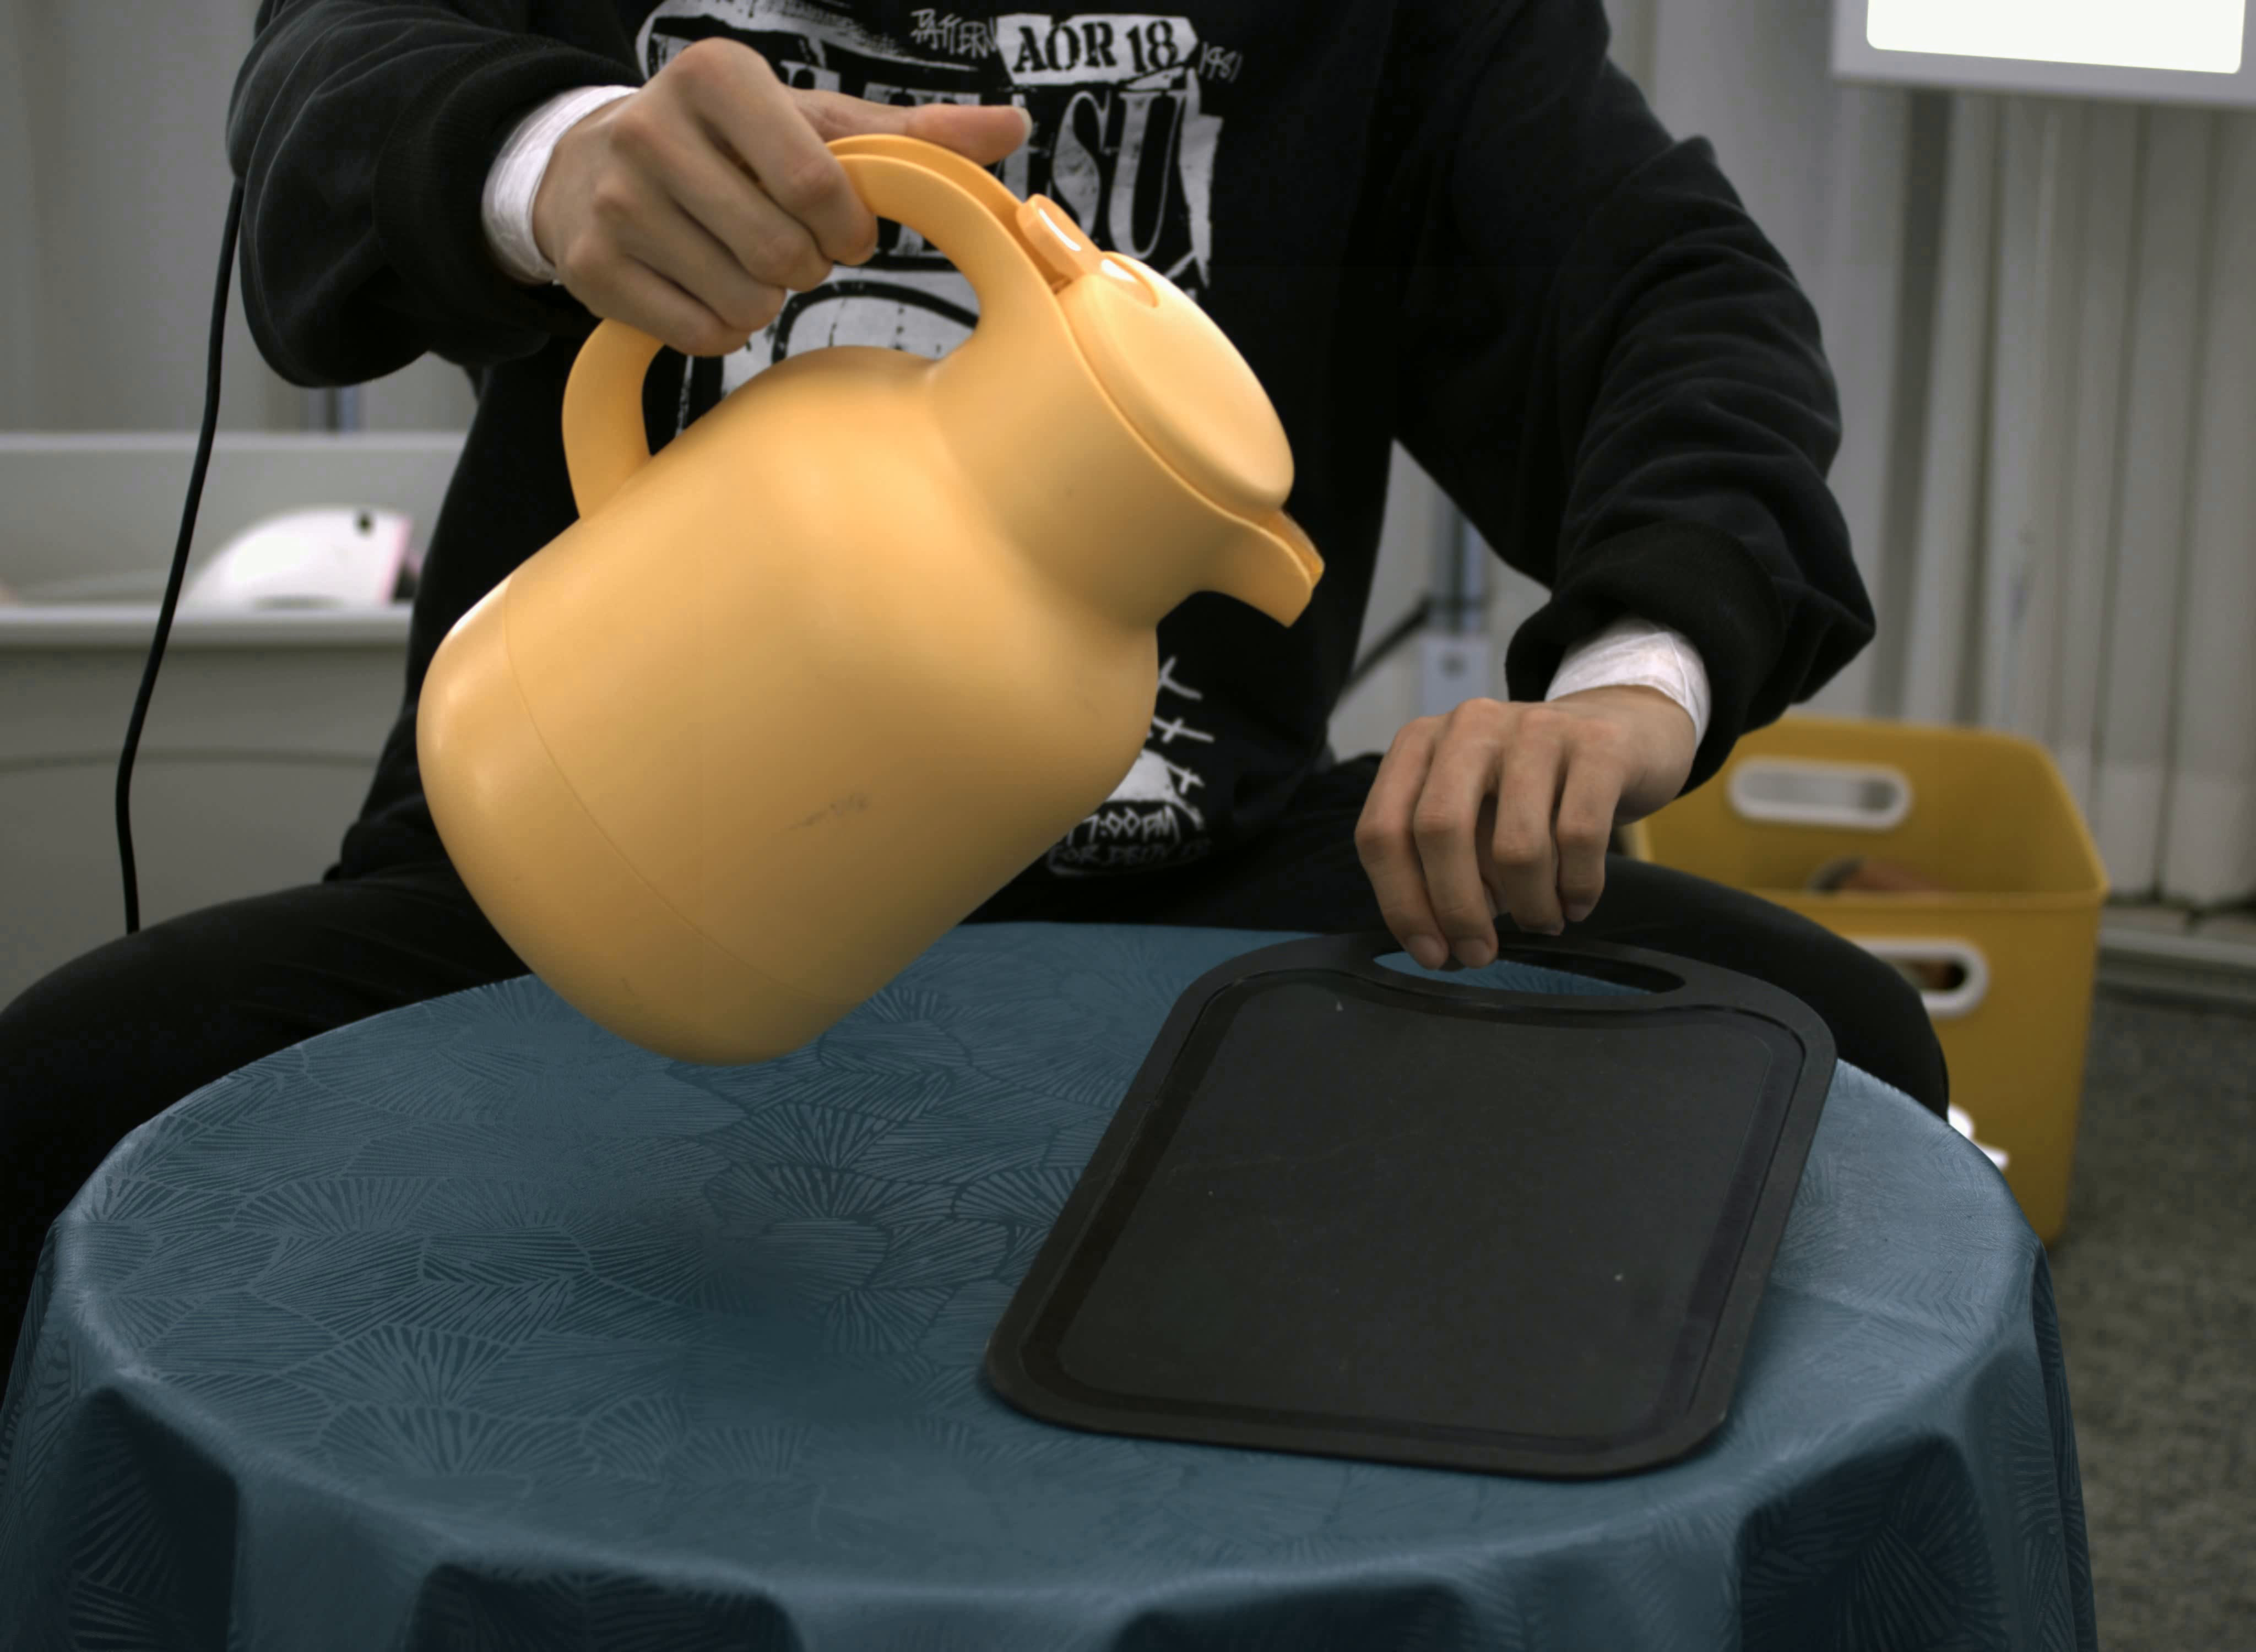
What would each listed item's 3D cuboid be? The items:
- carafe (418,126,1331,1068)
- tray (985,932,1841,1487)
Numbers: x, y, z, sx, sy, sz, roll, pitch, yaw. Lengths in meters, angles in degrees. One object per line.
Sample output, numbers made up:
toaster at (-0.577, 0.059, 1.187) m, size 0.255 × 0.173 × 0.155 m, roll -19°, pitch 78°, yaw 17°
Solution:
carafe at (-0.083, -0.072, 1.512) m, size 0.260 × 0.203 × 0.163 m, roll -38°, pitch 8°, yaw 19°
tray at (0.092, 0.102, 1.556) m, size 0.209 × 0.010 × 0.324 m, roll 6°, pitch 26°, yaw 14°
